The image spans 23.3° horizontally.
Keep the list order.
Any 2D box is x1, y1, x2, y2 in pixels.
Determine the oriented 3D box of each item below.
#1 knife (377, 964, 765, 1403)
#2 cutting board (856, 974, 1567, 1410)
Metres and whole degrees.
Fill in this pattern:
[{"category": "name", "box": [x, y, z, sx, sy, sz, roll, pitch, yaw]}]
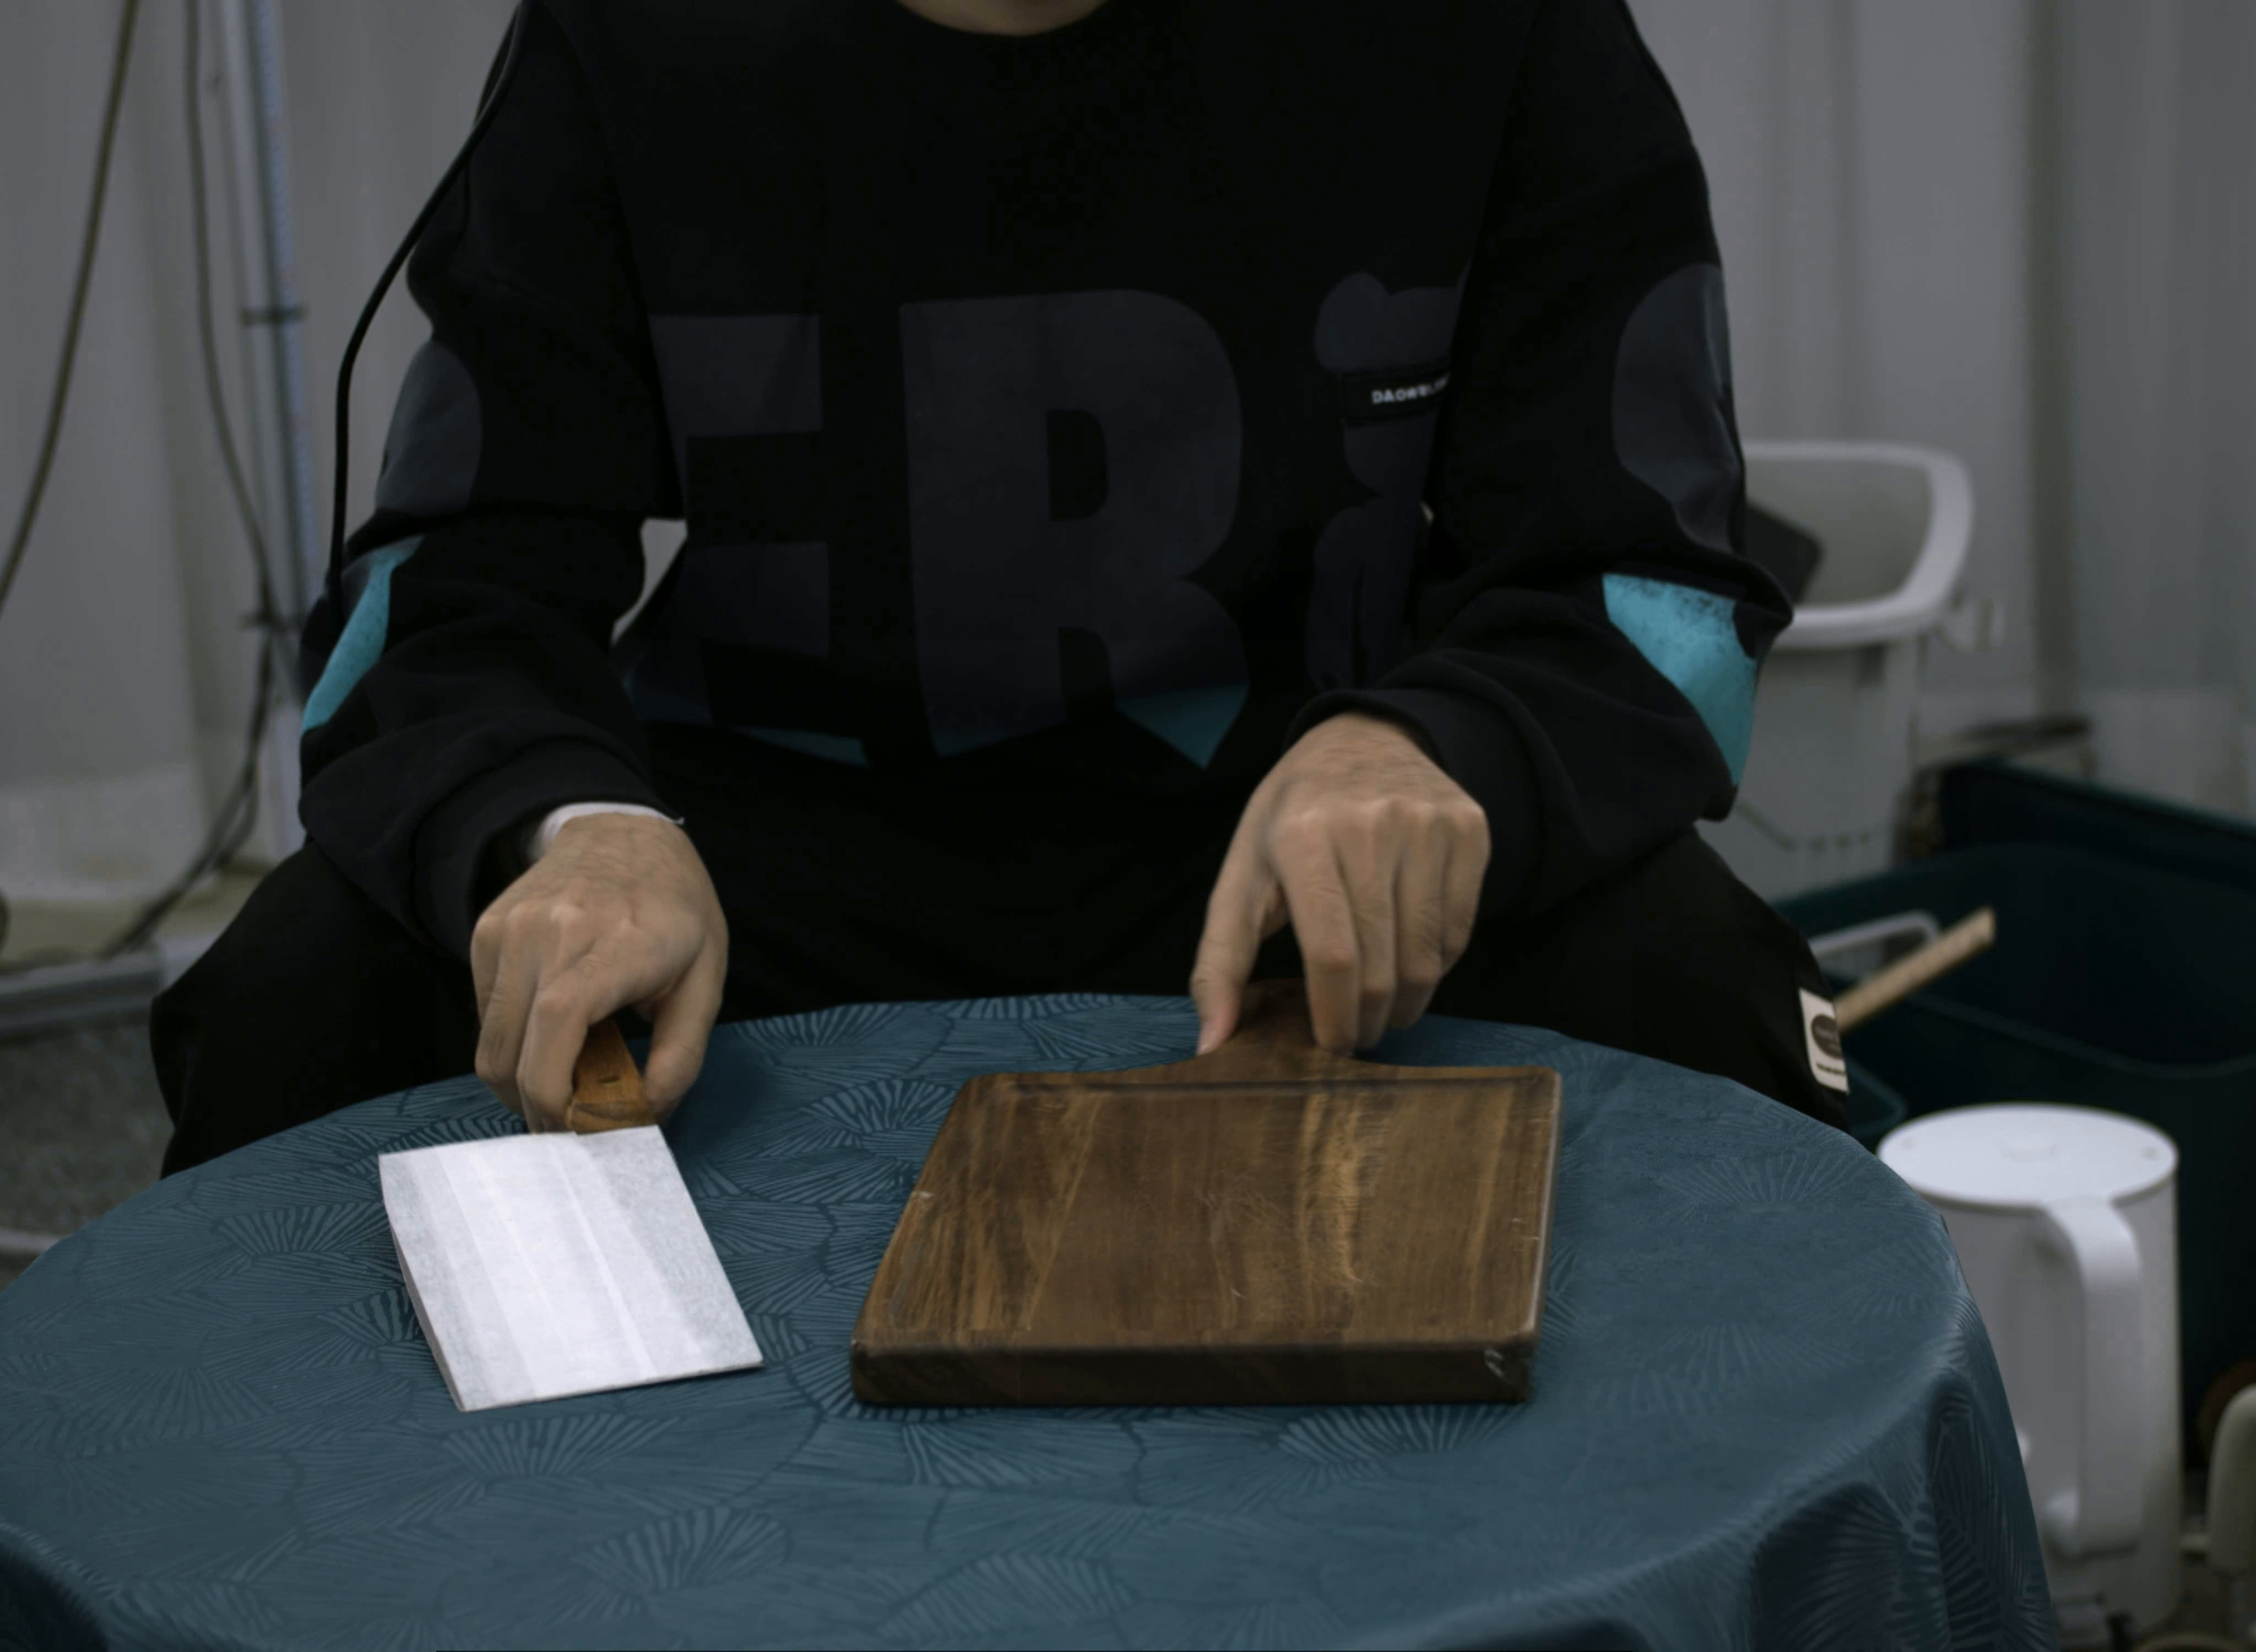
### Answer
[{"category": "knife", "box": [-0.184, 0.110, 1.705, 0.092, 0.021, 0.309, -8, 22, -13]}, {"category": "cutting board", "box": [0.037, 0.107, 1.694, 0.200, 0.023, 0.354, -1, 15, 7]}]
